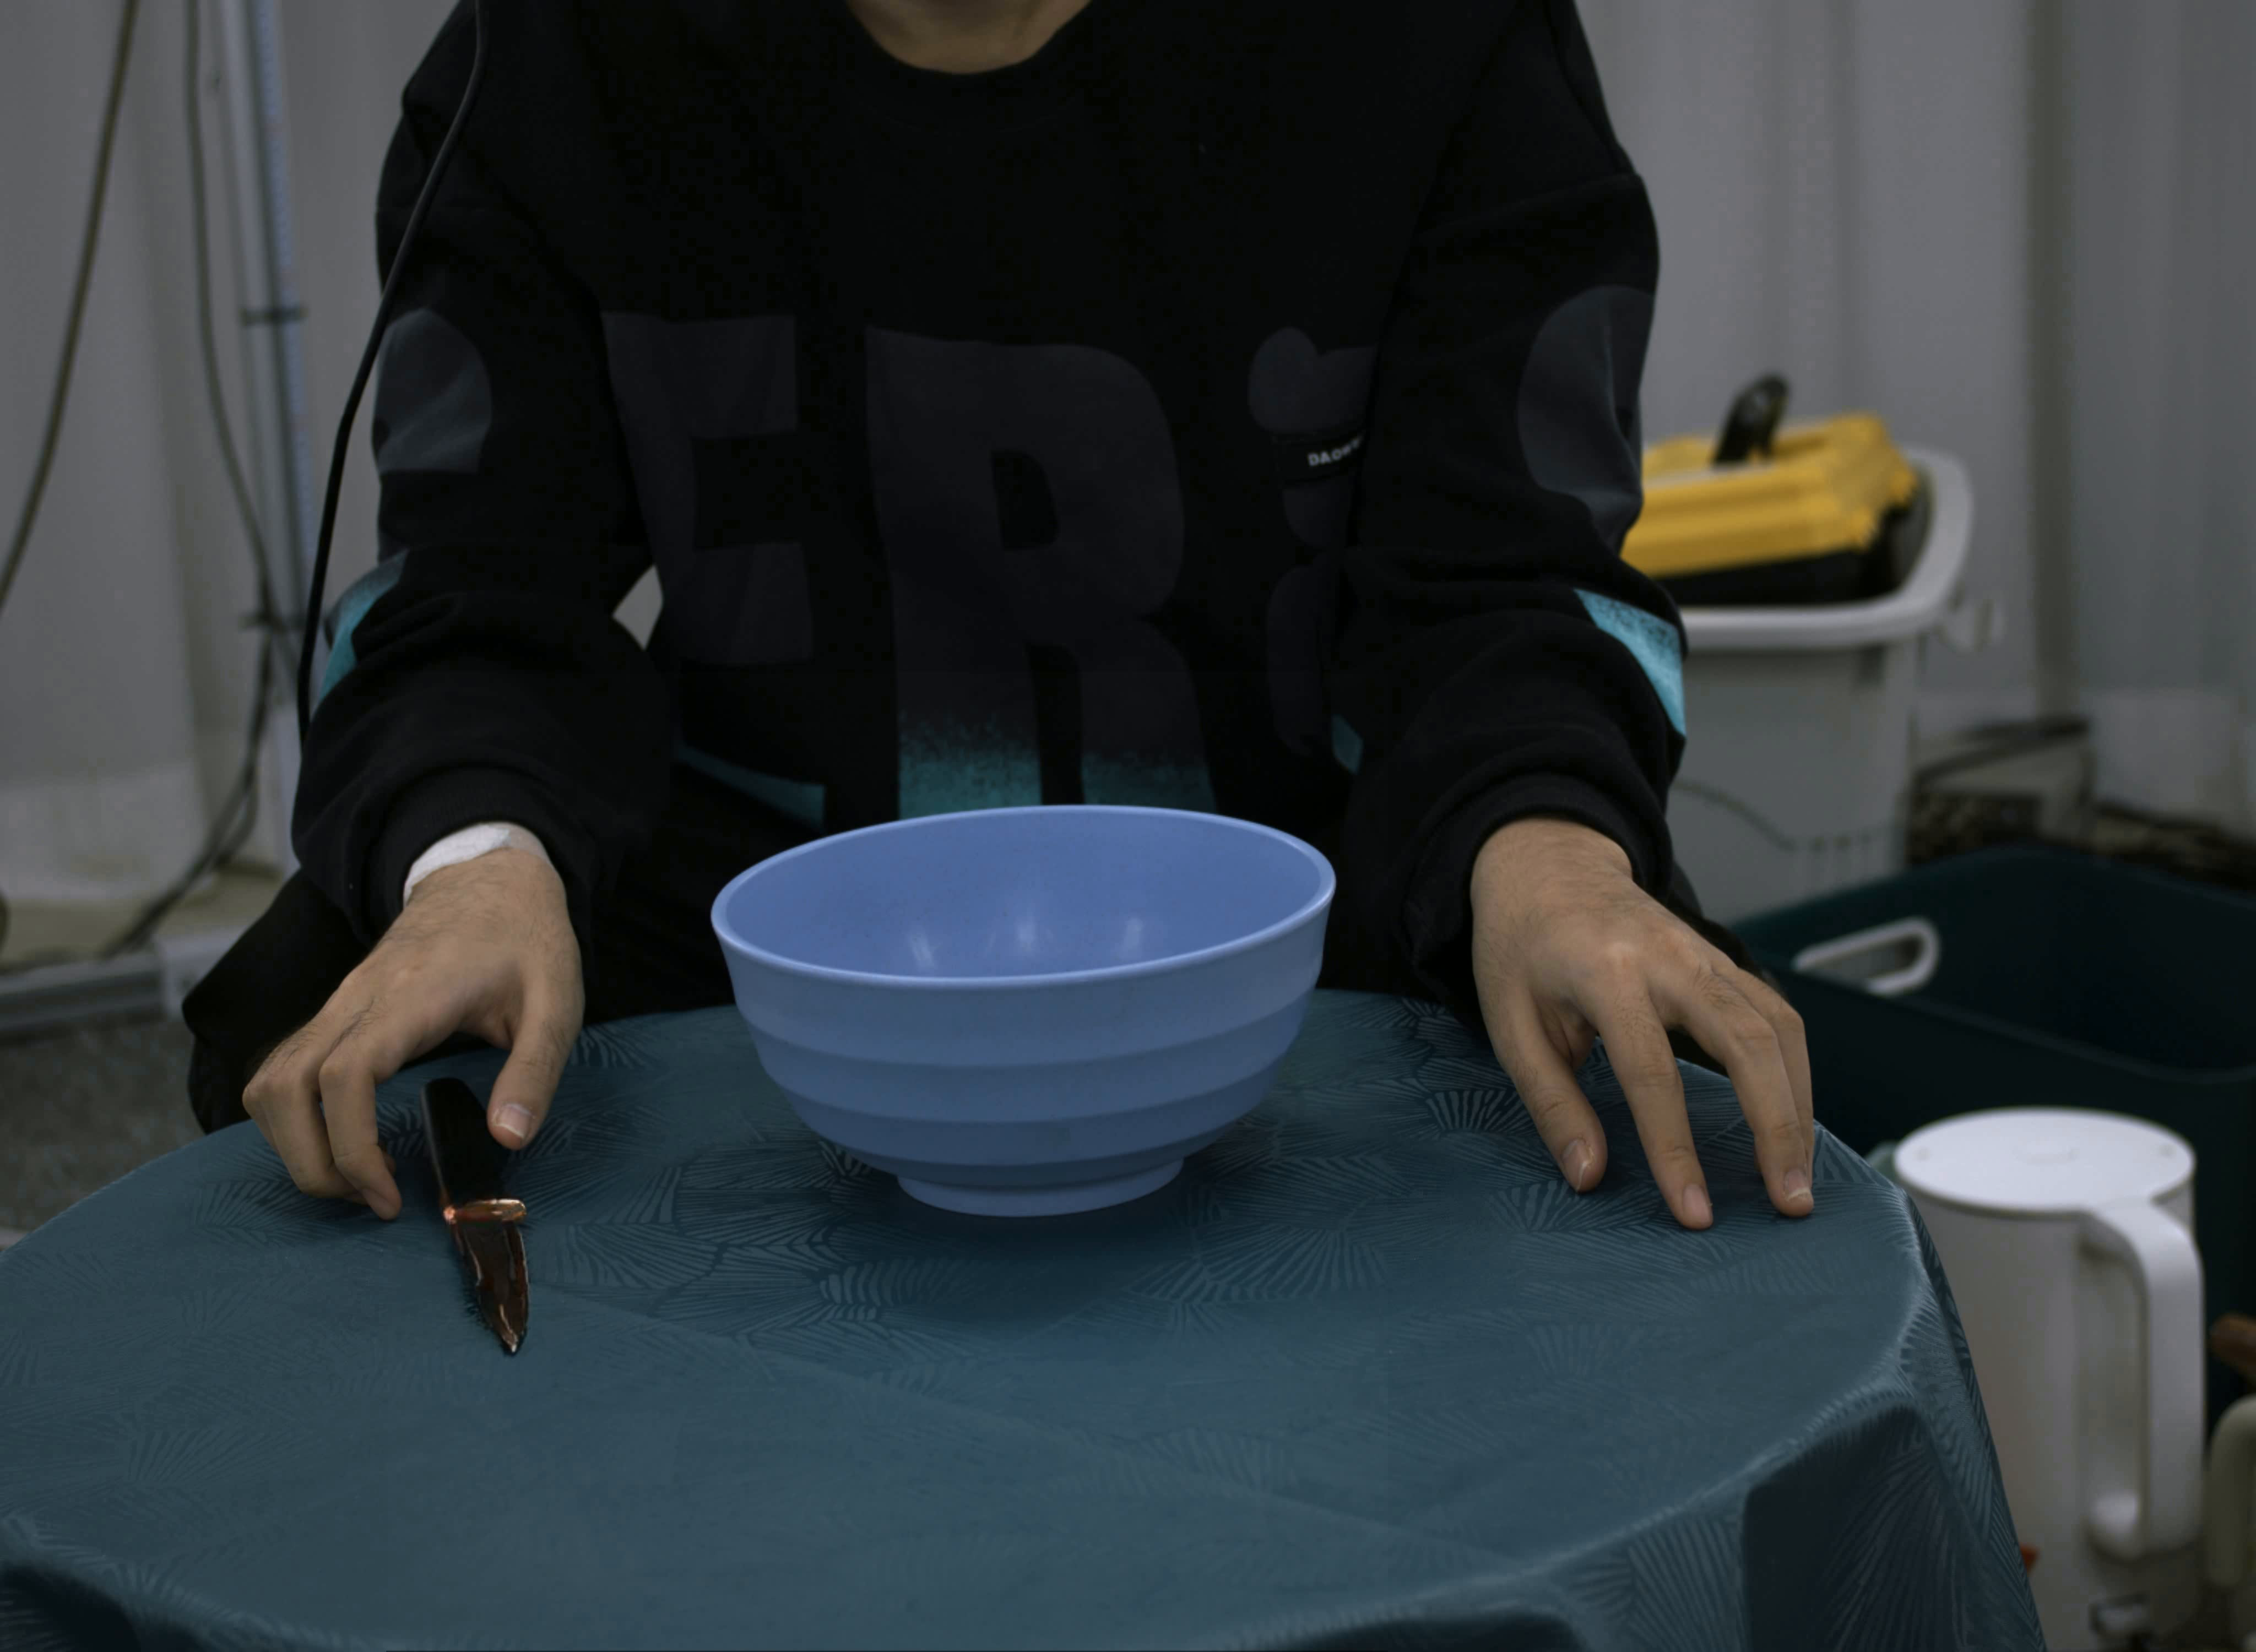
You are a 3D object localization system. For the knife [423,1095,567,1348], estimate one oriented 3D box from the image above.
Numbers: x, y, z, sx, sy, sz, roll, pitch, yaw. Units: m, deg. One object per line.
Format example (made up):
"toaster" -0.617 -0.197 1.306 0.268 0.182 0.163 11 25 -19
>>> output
"knife" -0.198 0.123 1.702 0.026 0.017 0.227 -4 16 -13

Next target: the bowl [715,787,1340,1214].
"bowl" -0.030 0.062 1.725 0.196 0.095 0.198 -2 18 0
